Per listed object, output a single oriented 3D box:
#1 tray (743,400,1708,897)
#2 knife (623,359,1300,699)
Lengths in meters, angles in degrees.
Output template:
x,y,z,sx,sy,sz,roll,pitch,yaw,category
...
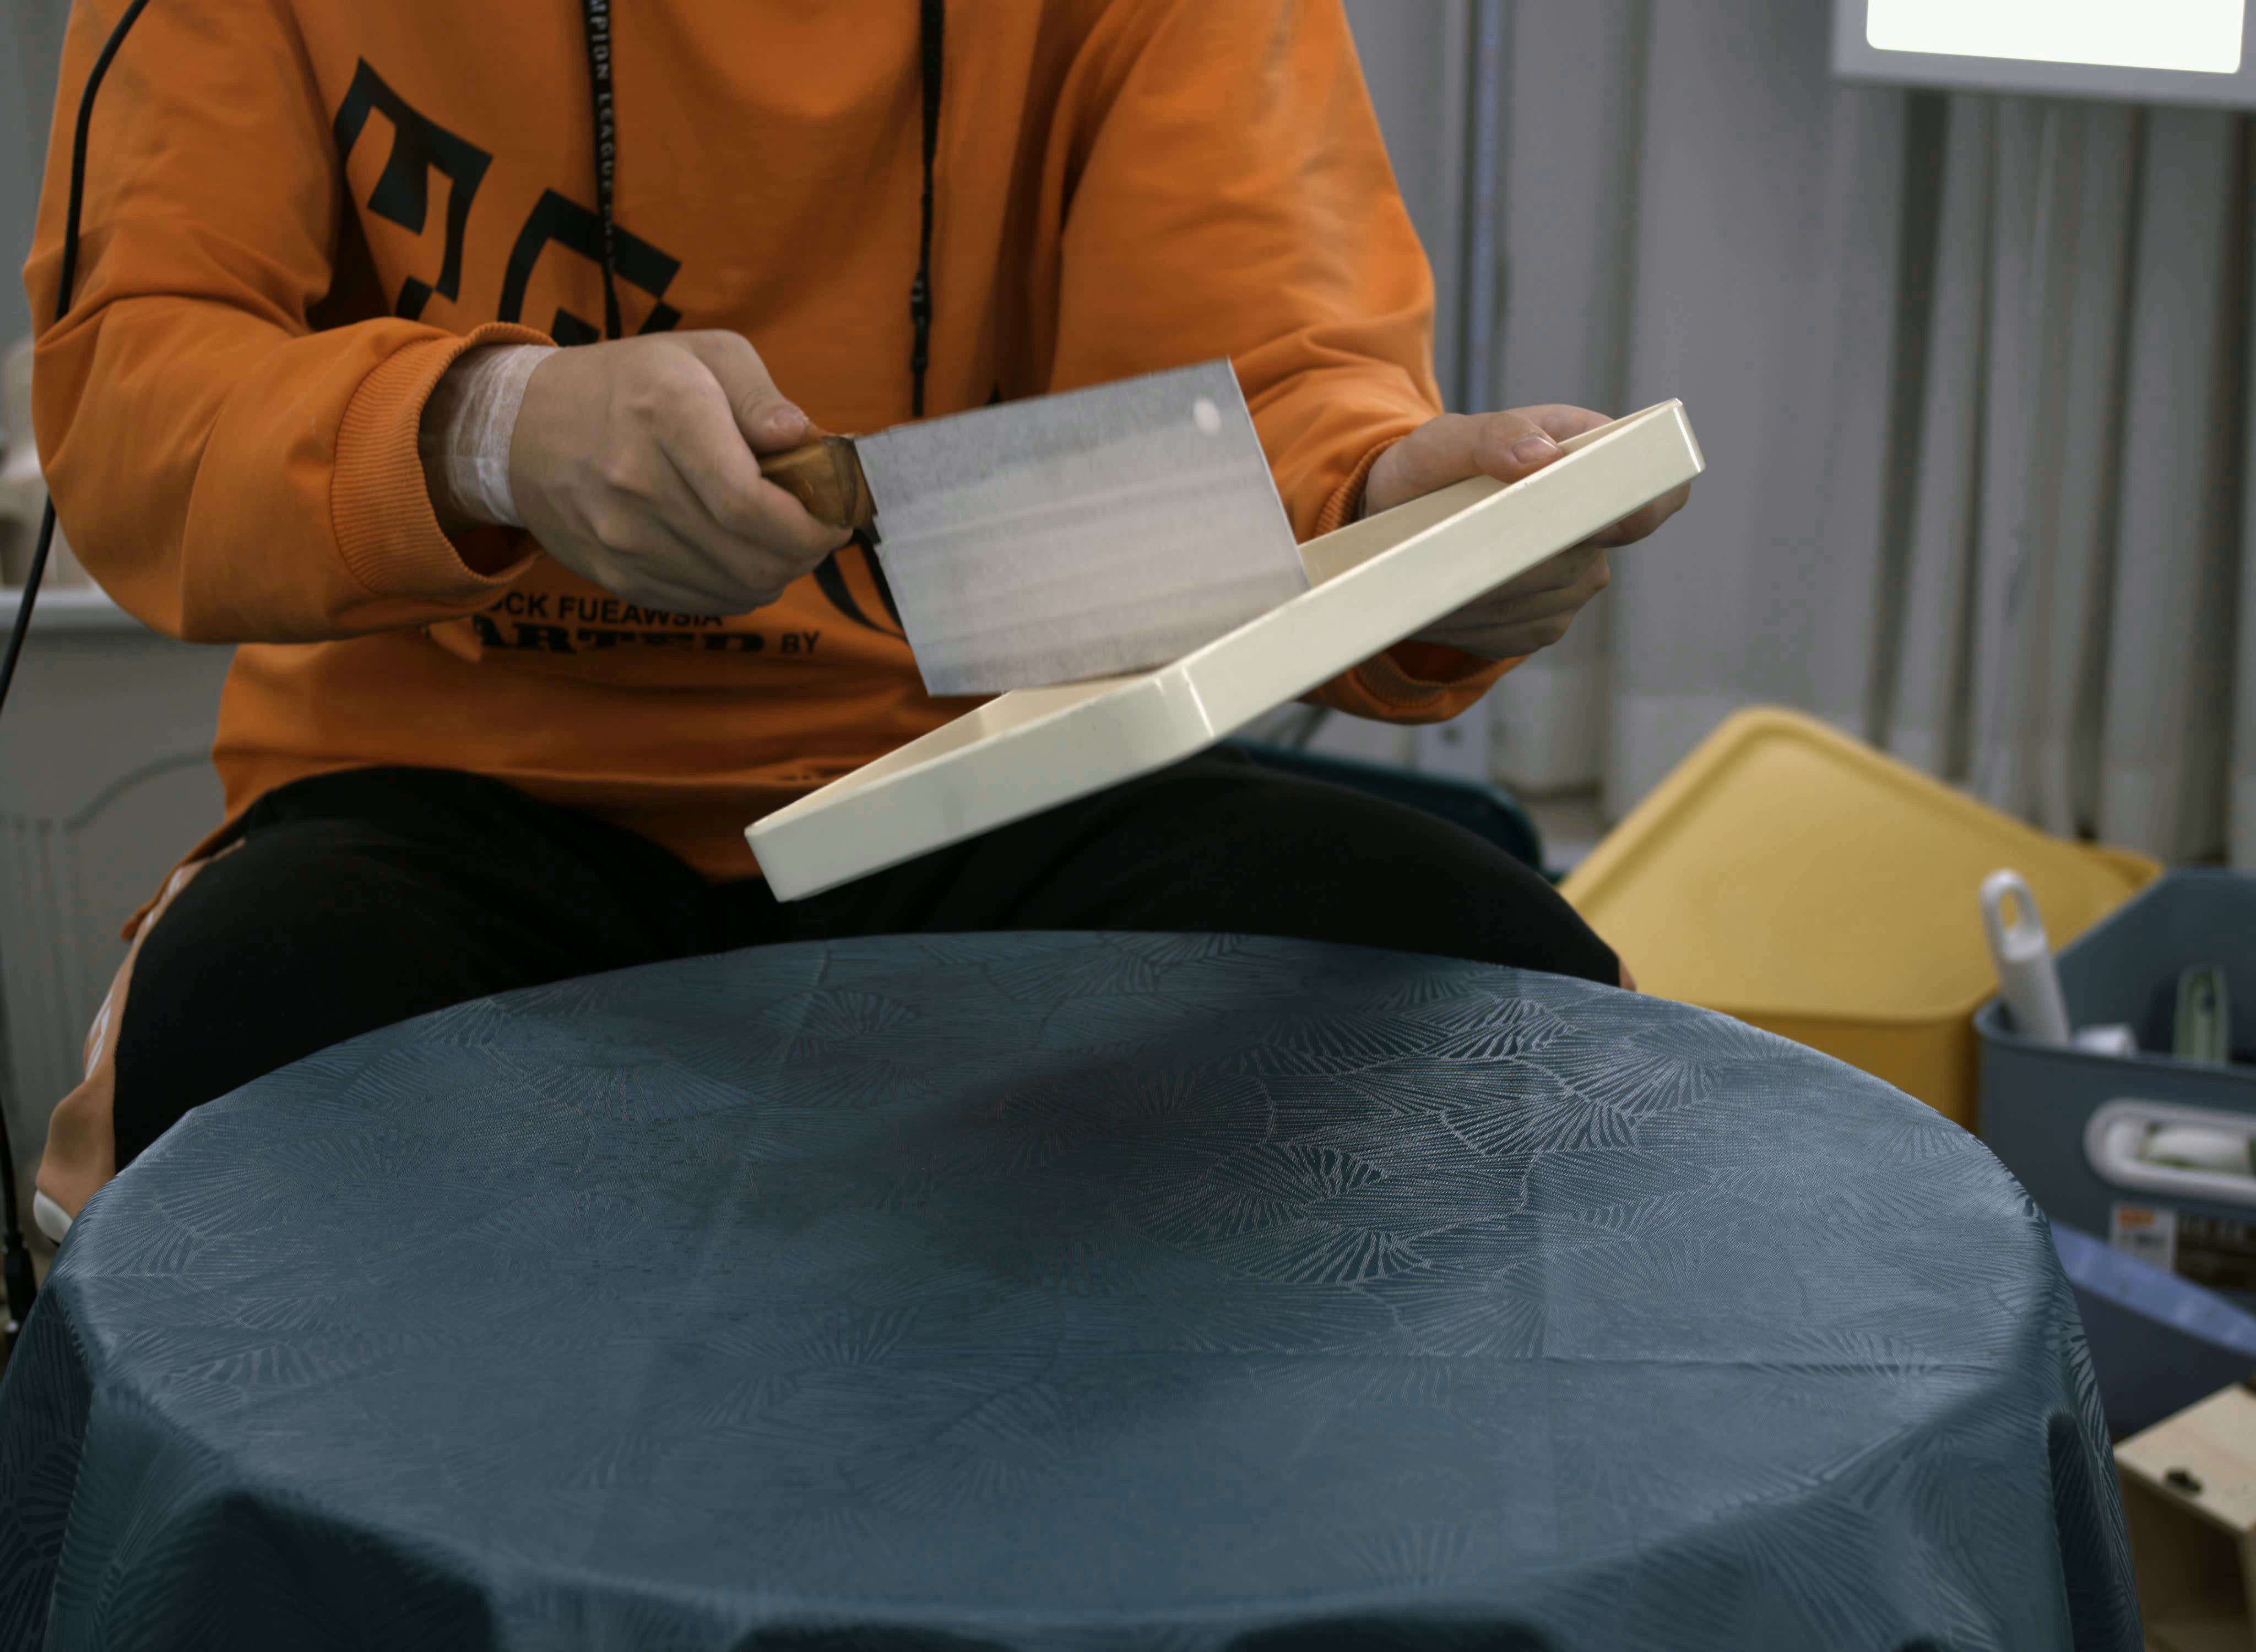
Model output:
x,y,z,sx,sy,sz,roll,pitch,yaw,category
0.035,-0.056,1.644,0.190,0.027,0.301,-19,7,42,tray
-0.055,-0.086,1.665,0.021,0.093,0.303,-31,16,-39,knife
